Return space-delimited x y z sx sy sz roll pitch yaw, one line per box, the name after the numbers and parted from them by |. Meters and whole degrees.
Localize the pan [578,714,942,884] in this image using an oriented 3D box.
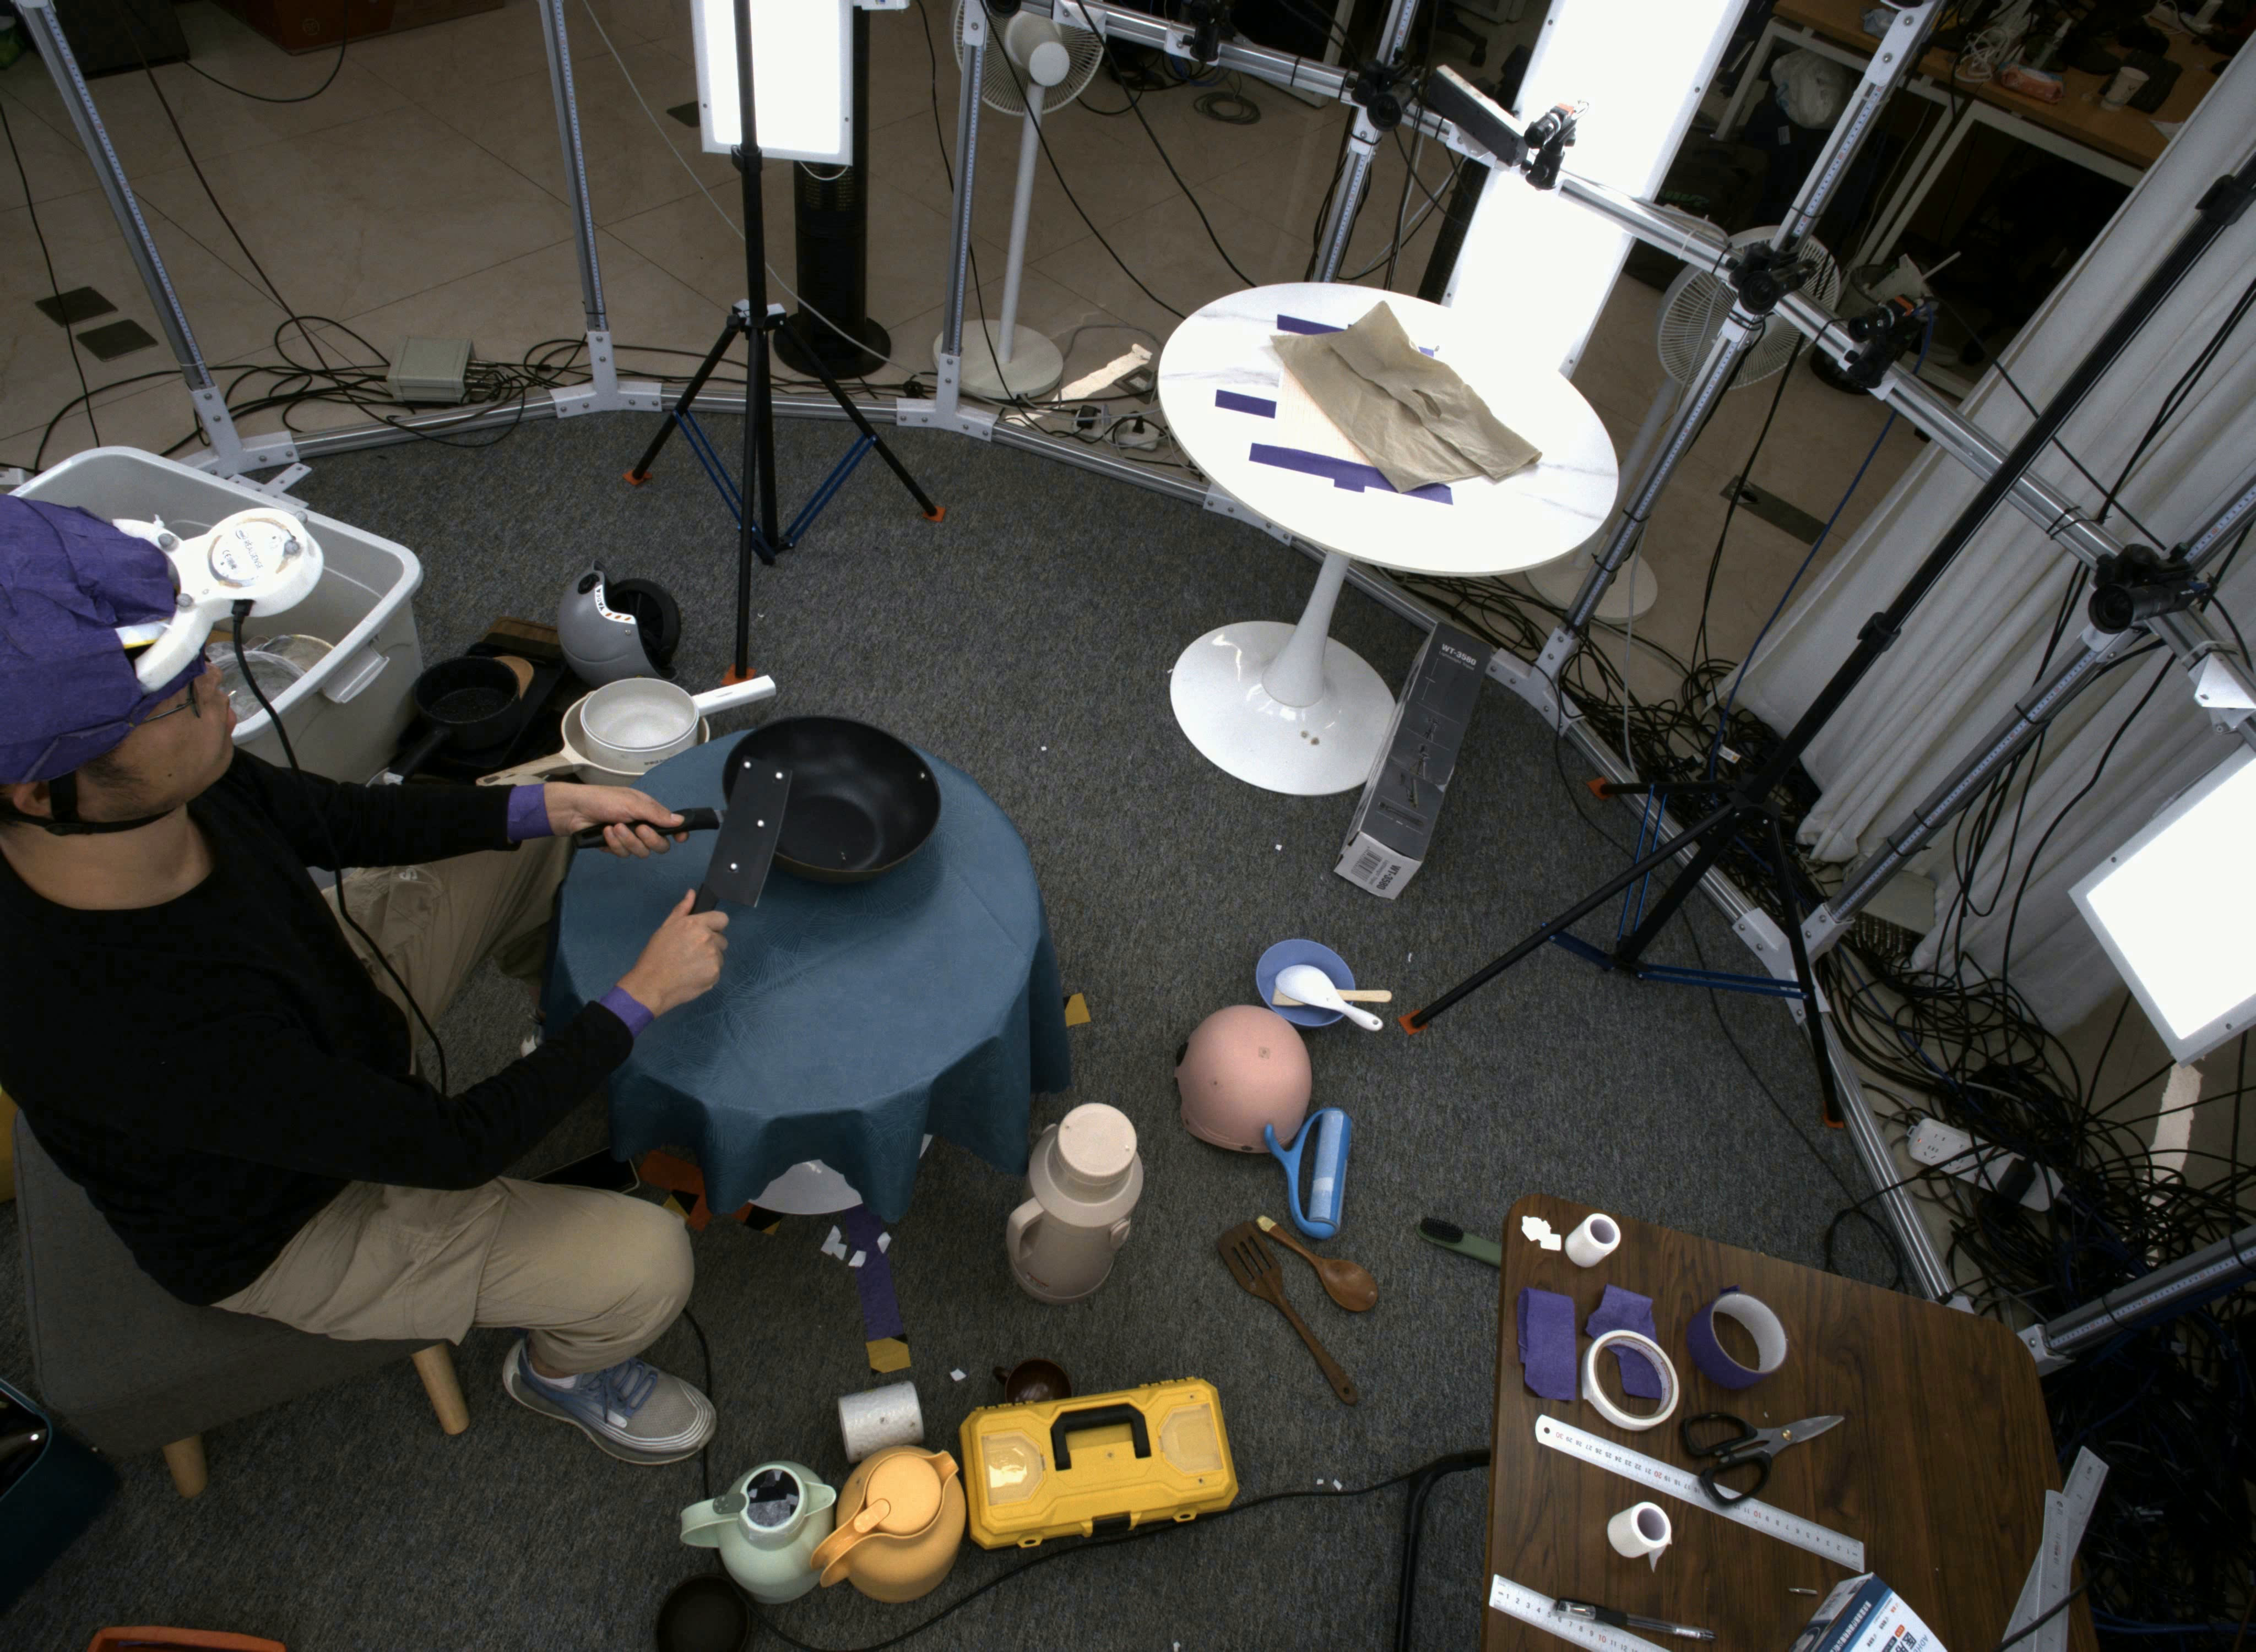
-0.460 -0.006 1.630 0.468 0.088 0.280 -14 54 -34 | pan

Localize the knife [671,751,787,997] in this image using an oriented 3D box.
-0.471 0.053 1.520 0.082 0.020 0.301 22 67 -17 | knife
